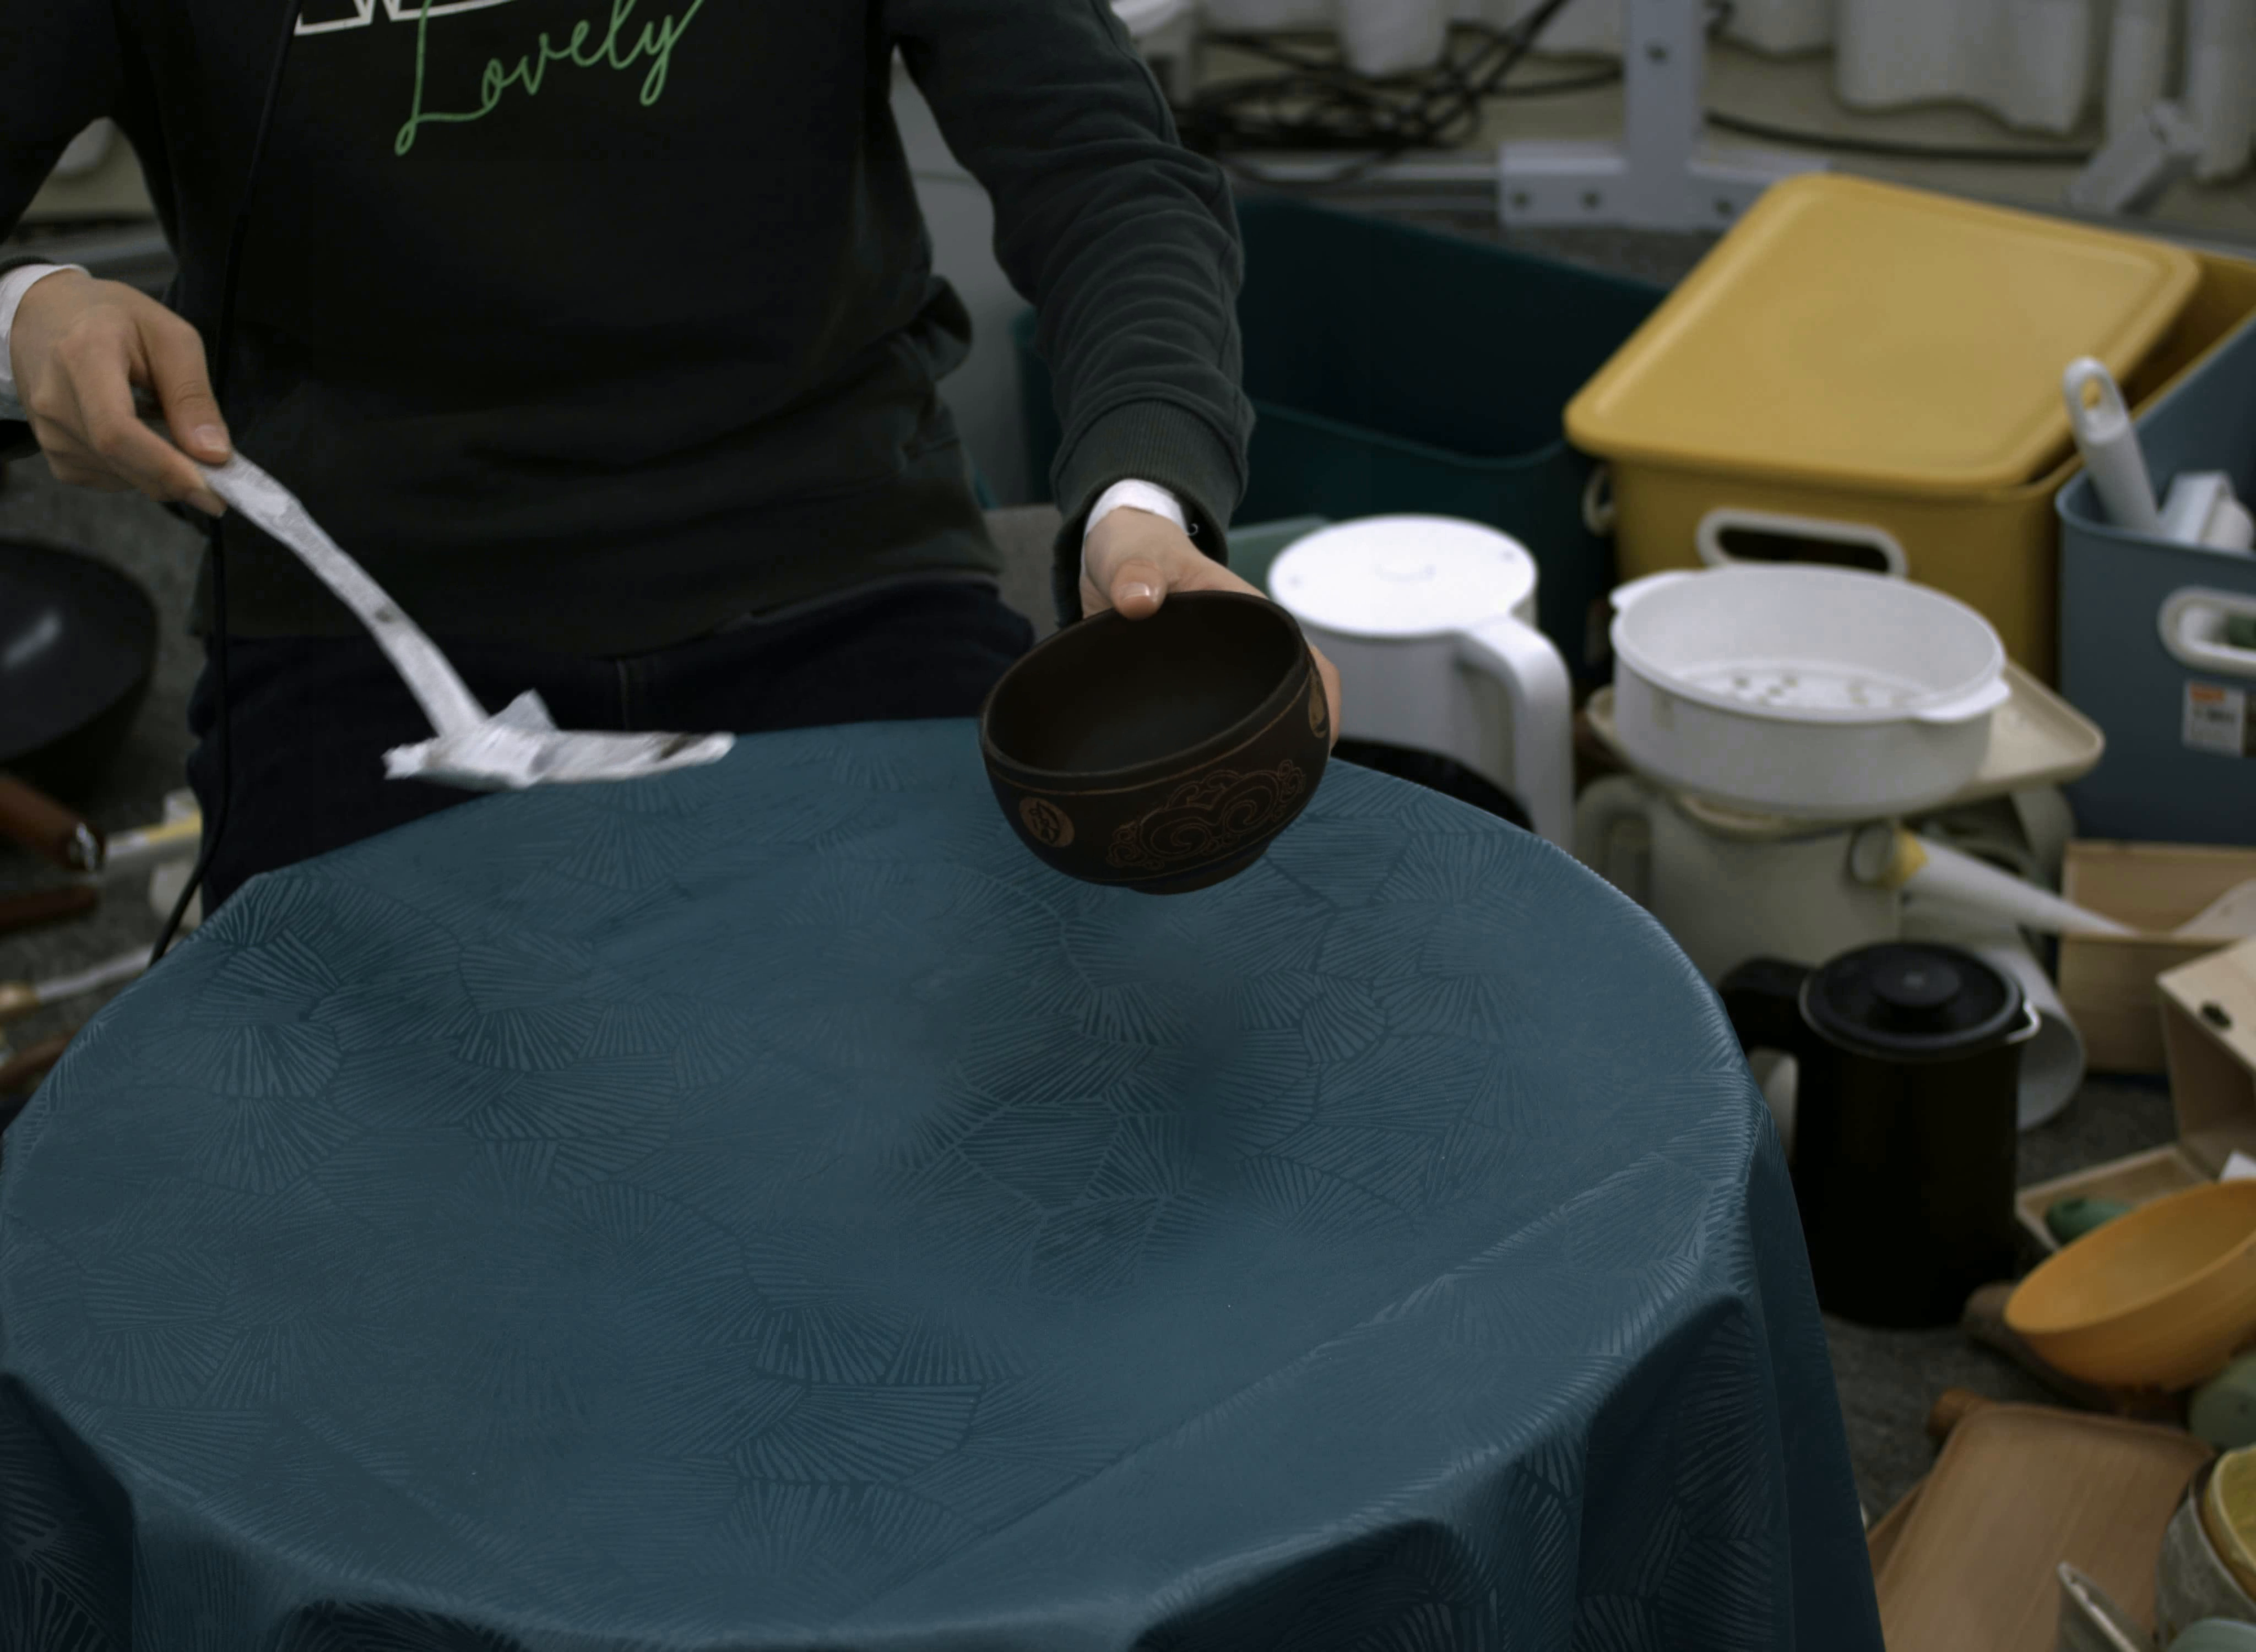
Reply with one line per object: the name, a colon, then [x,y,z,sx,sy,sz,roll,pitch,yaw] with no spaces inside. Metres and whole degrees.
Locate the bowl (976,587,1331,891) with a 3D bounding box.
bowl: [0.013,-0.022,1.894,0.117,0.069,0.120,-13,28,7]

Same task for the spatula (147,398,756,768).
spatula: [-0.247,-0.087,1.863,0.099,0.044,0.367,-9,31,-33]
